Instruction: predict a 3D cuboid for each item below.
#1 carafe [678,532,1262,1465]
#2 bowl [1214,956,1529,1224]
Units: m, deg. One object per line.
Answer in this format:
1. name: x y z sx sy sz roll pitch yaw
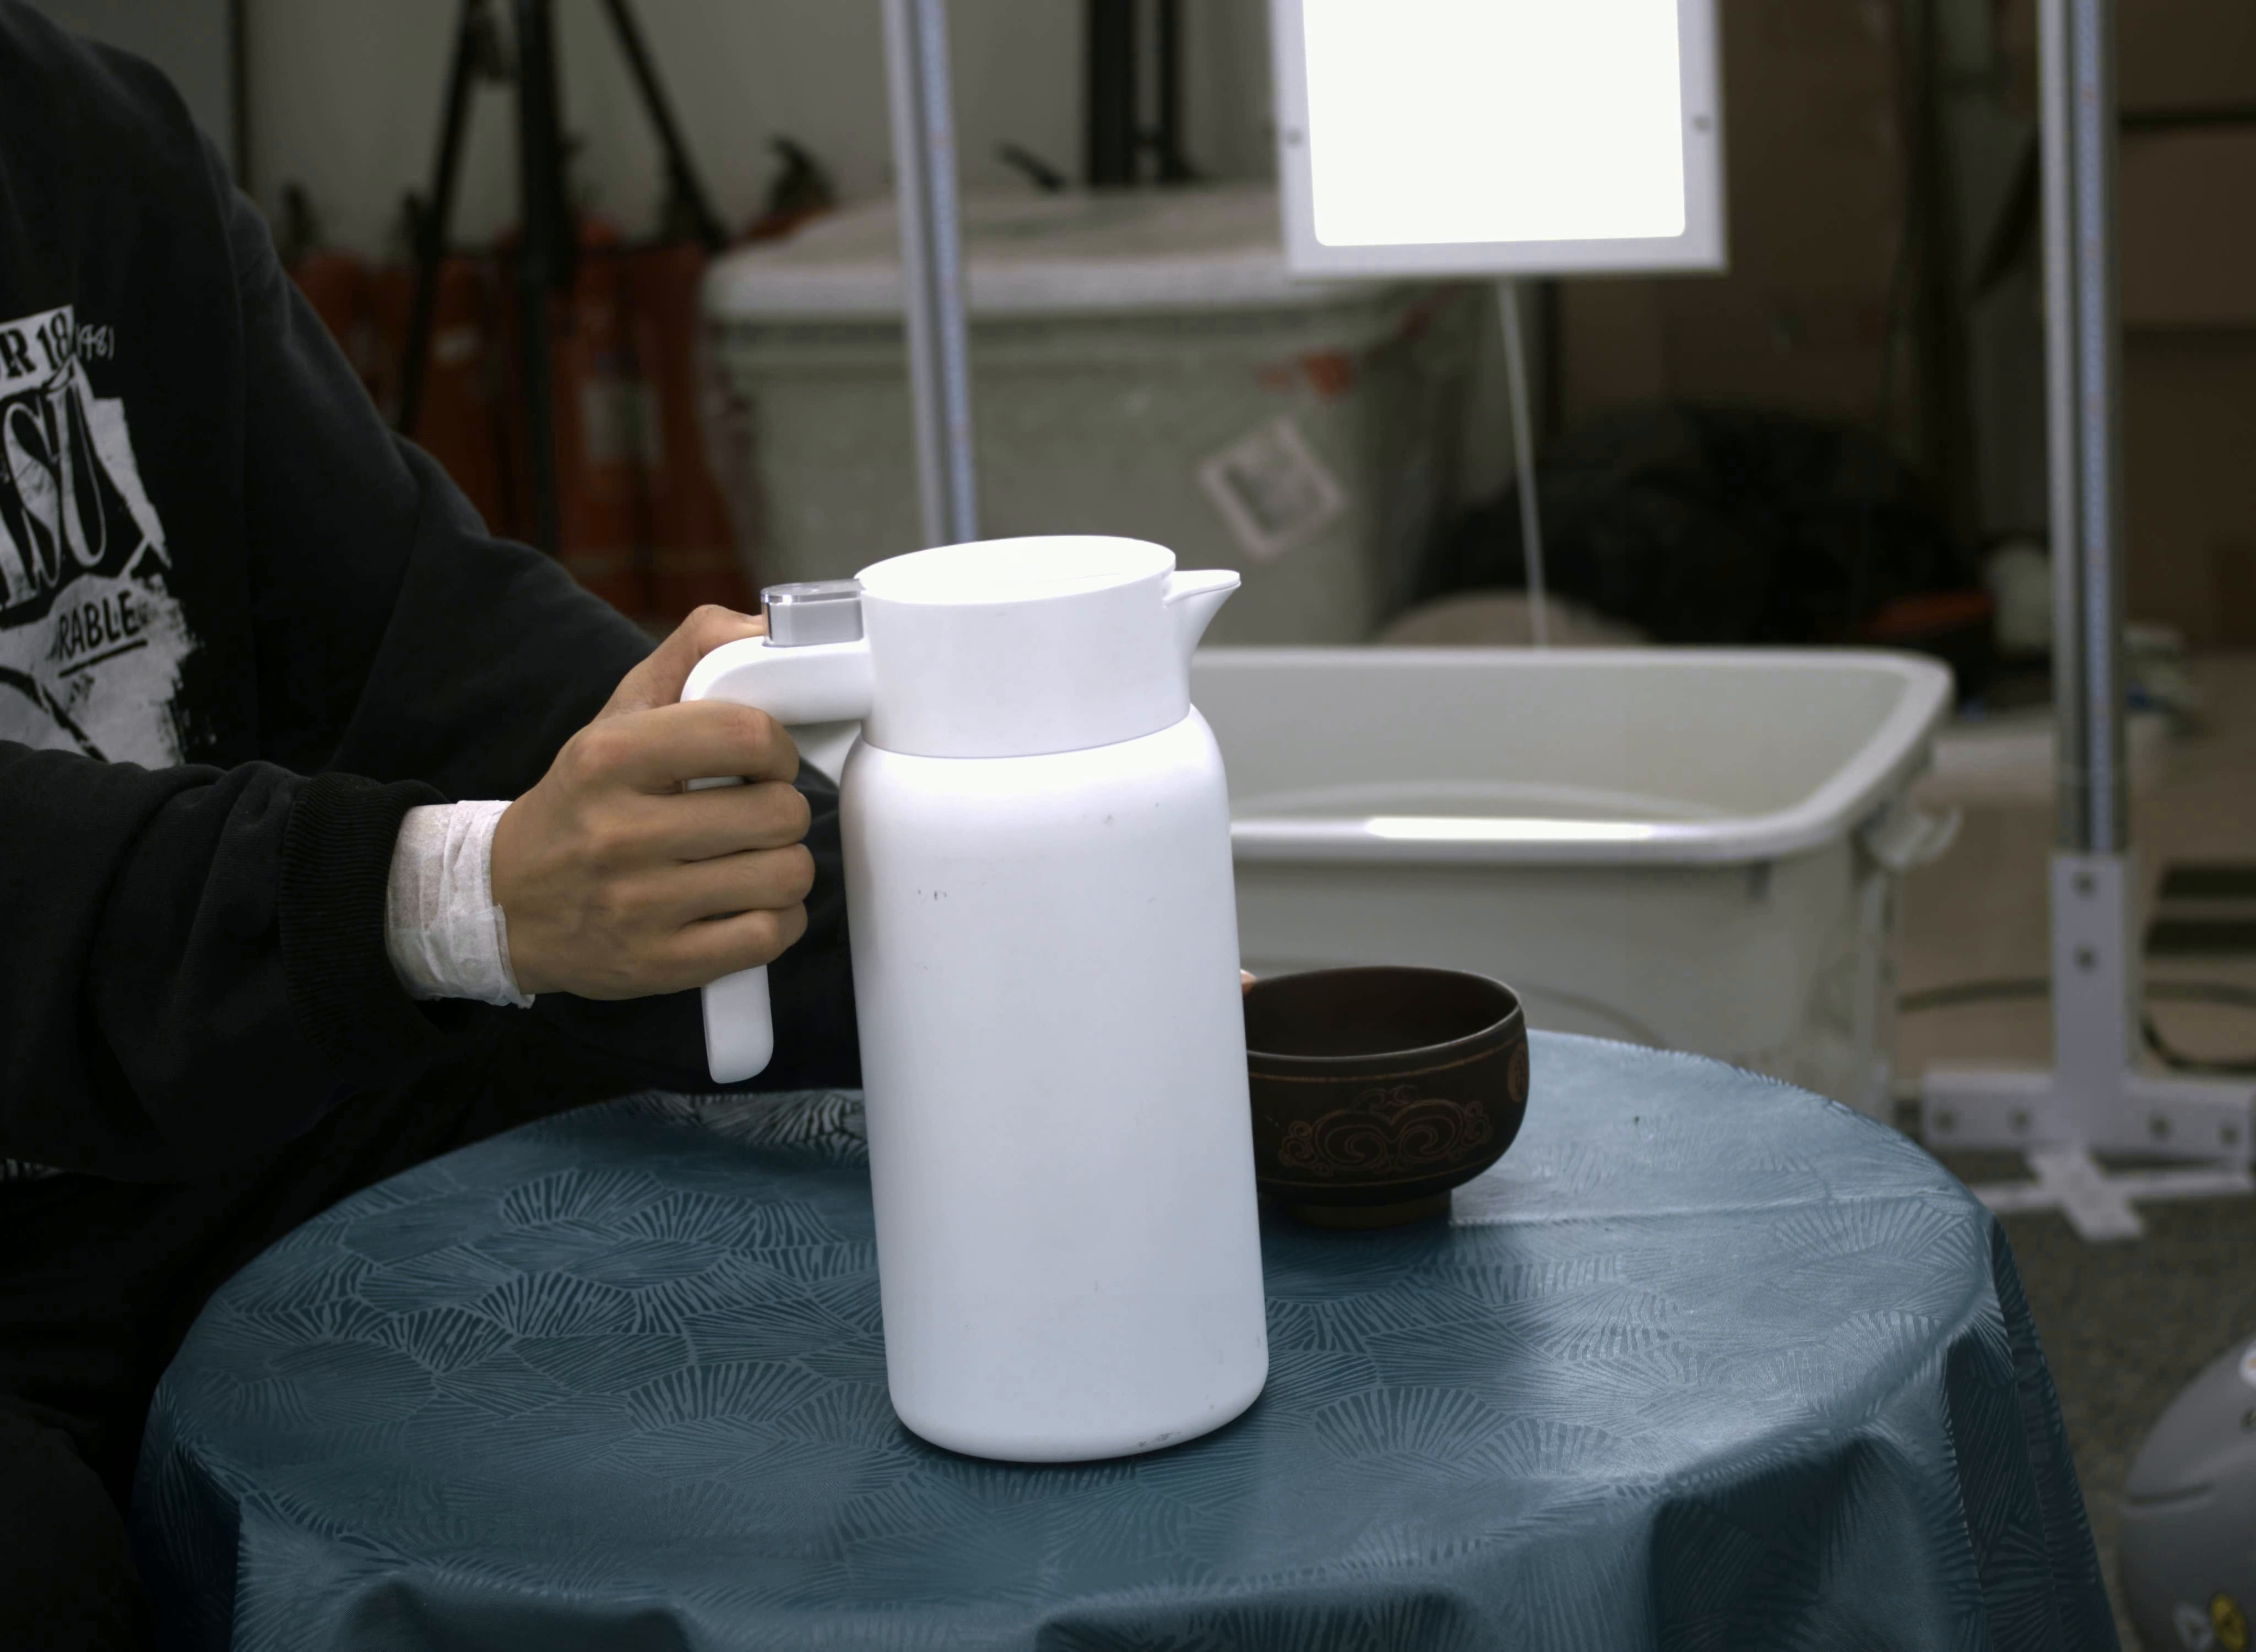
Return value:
1. carafe: -0.042 0.052 1.657 0.171 0.270 0.124 -6 16 -6
2. bowl: 0.078 0.092 1.854 0.118 0.070 0.118 -6 14 0
